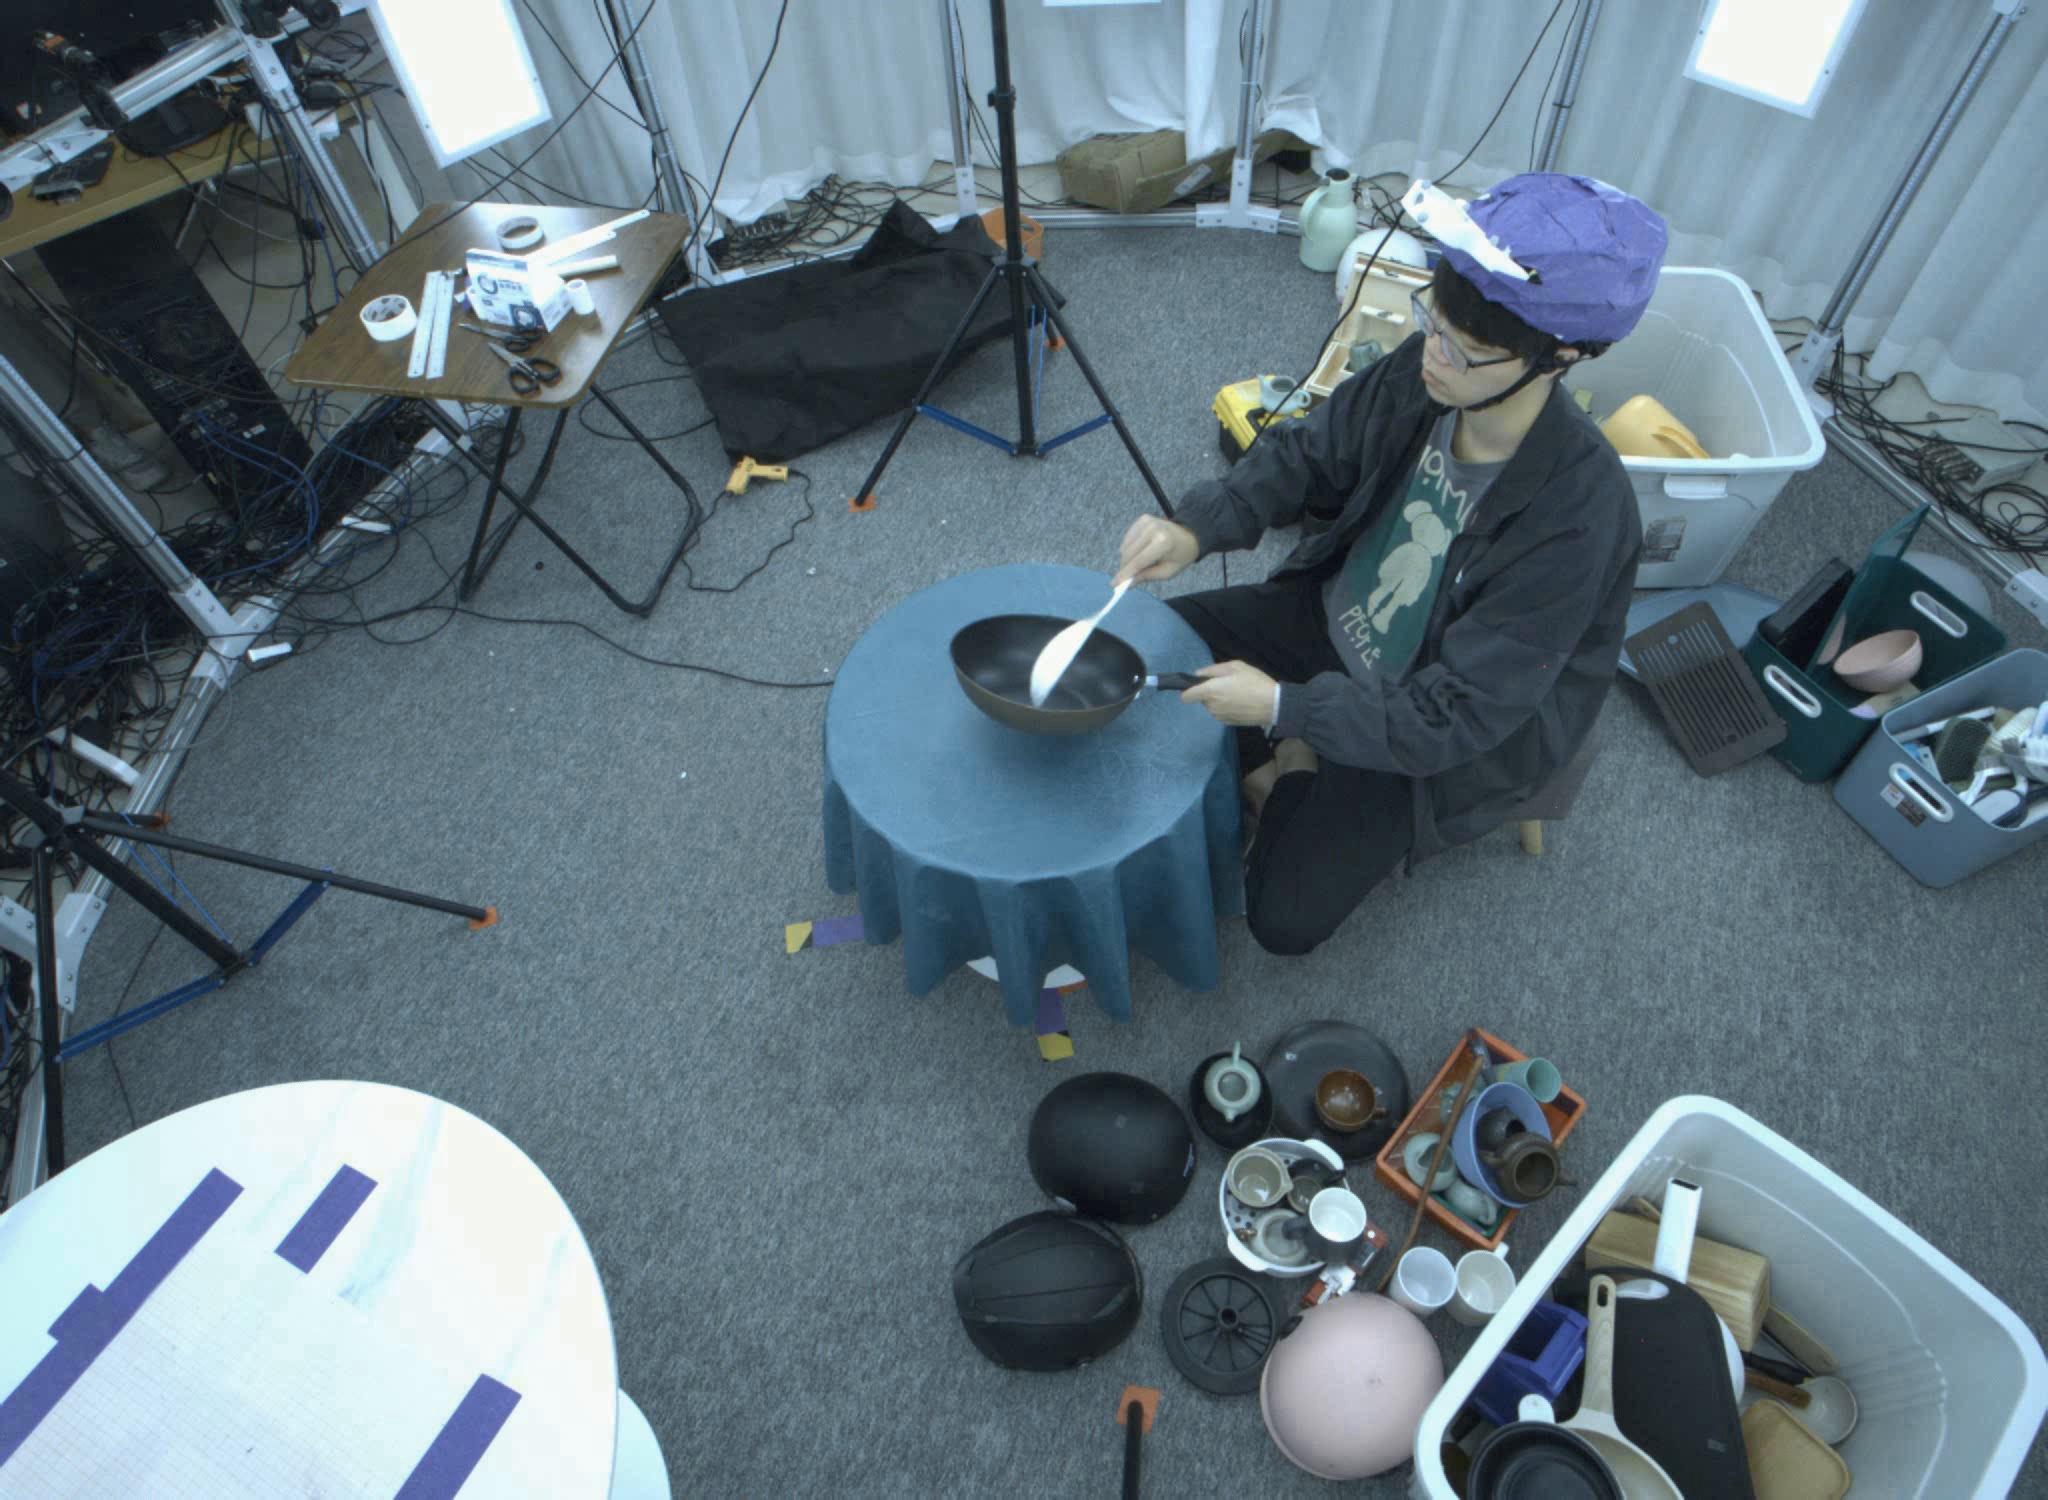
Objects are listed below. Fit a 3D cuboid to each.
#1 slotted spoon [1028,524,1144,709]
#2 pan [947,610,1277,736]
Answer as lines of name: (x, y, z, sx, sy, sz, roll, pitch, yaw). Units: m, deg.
slotted spoon: (0.095, -0.194, 1.709, 0.050, 0.136, 0.349, 37, 59, 3)
pan: (0.118, -0.084, 1.723, 0.465, 0.087, 0.285, 9, 33, -3)
